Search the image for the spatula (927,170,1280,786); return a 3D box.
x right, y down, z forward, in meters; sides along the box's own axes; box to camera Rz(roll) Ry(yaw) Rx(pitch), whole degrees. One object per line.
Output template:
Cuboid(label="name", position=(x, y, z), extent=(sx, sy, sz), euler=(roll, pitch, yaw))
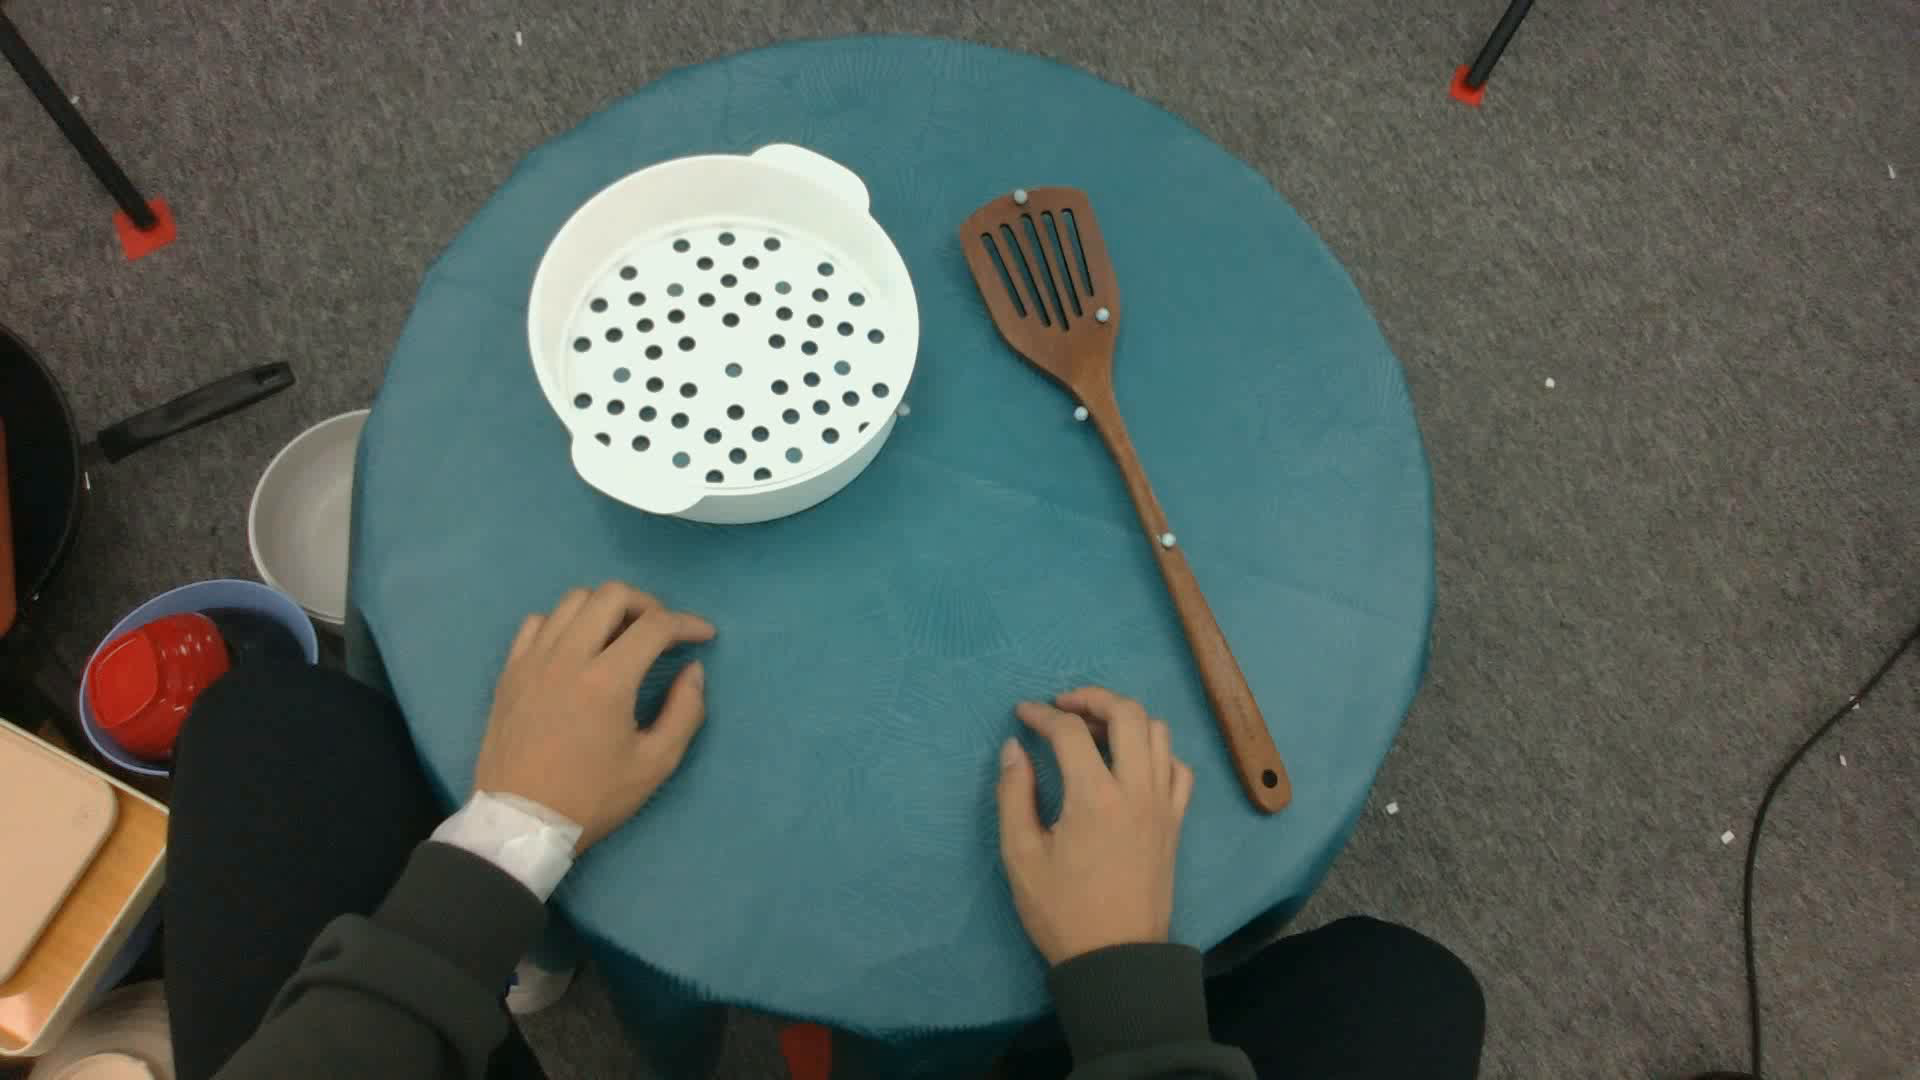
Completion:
Cuboid(label="spatula", position=(0.088, -0.042, 0.778), extent=(0.086, 0.023, 0.386), euler=(-21, 74, -12))

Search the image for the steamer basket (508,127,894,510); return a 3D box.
Cuboid(label="steamer basket", position=(-0.137, -0.115, 0.753), extent=(0.202, 0.069, 0.231), euler=(22, 71, 4))
